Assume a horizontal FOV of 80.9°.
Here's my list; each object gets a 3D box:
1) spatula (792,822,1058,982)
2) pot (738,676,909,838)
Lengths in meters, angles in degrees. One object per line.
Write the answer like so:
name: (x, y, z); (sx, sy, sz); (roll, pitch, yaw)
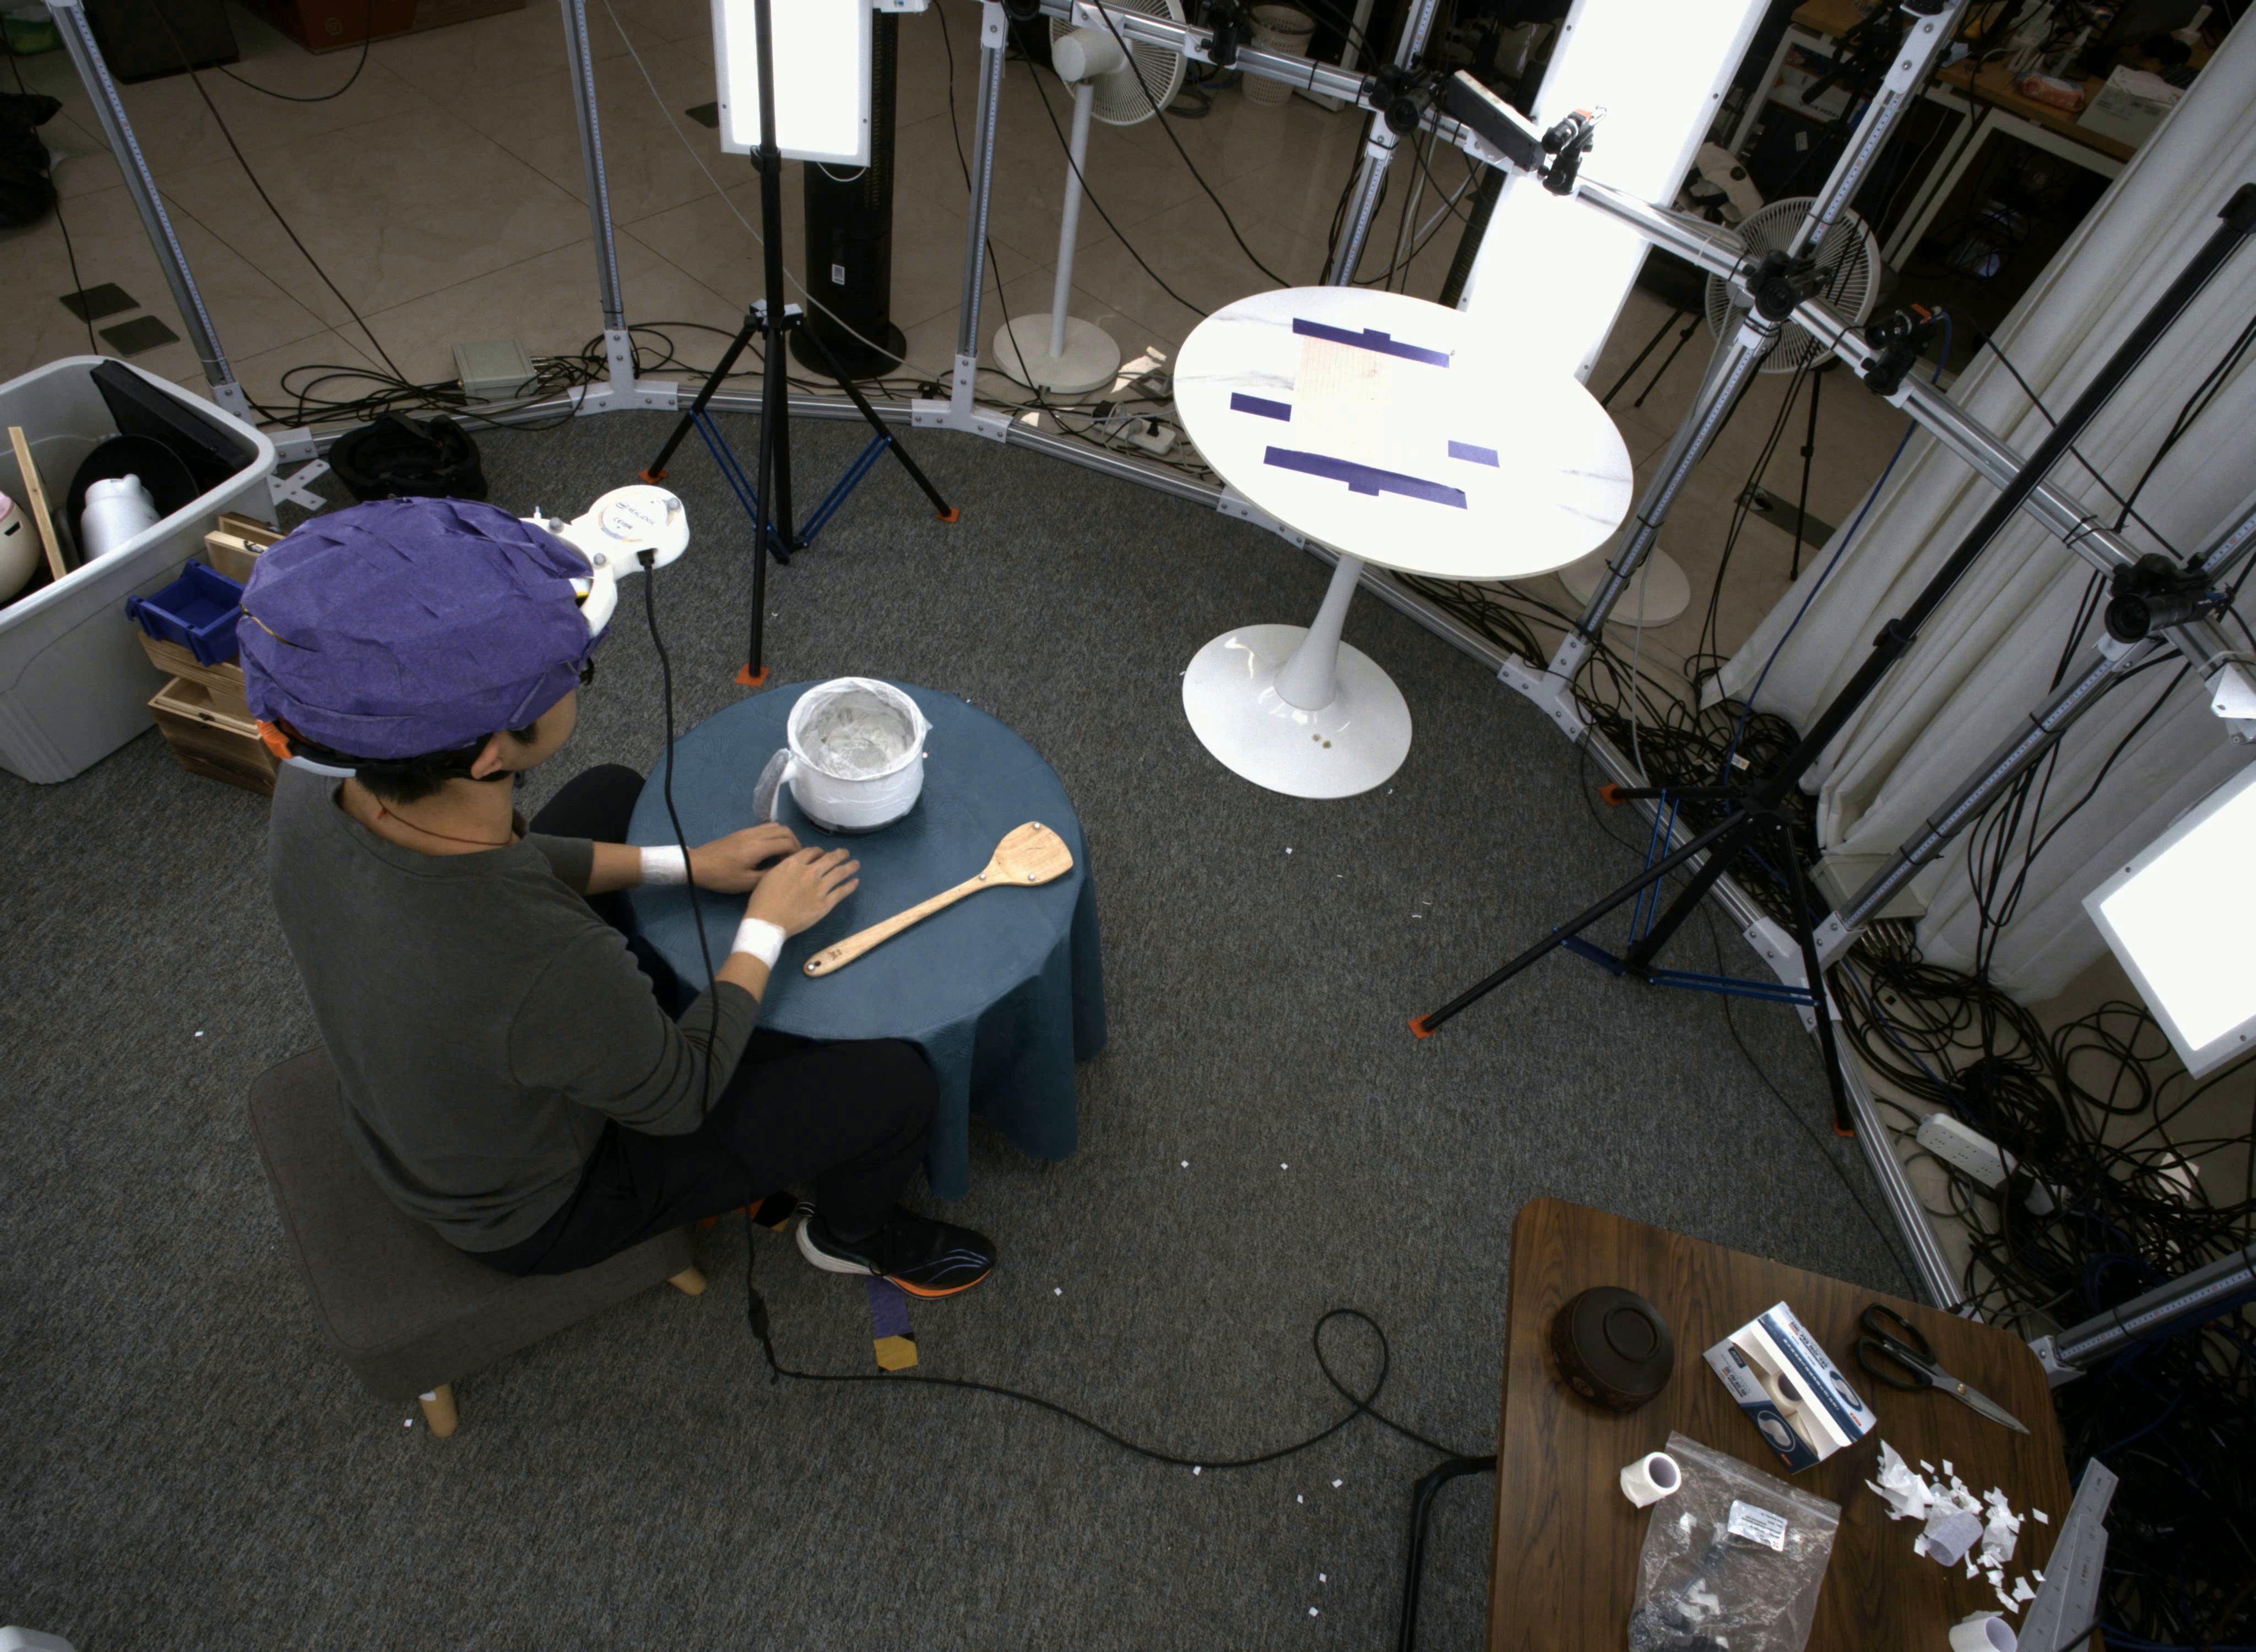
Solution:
spatula: (-0.260, 0.103, 1.689); (0.392, 0.019, 0.093); (-29, 64, -31)
pot: (-0.403, -0.078, 1.710); (0.235, 0.139, 0.174); (-27, 63, -29)
